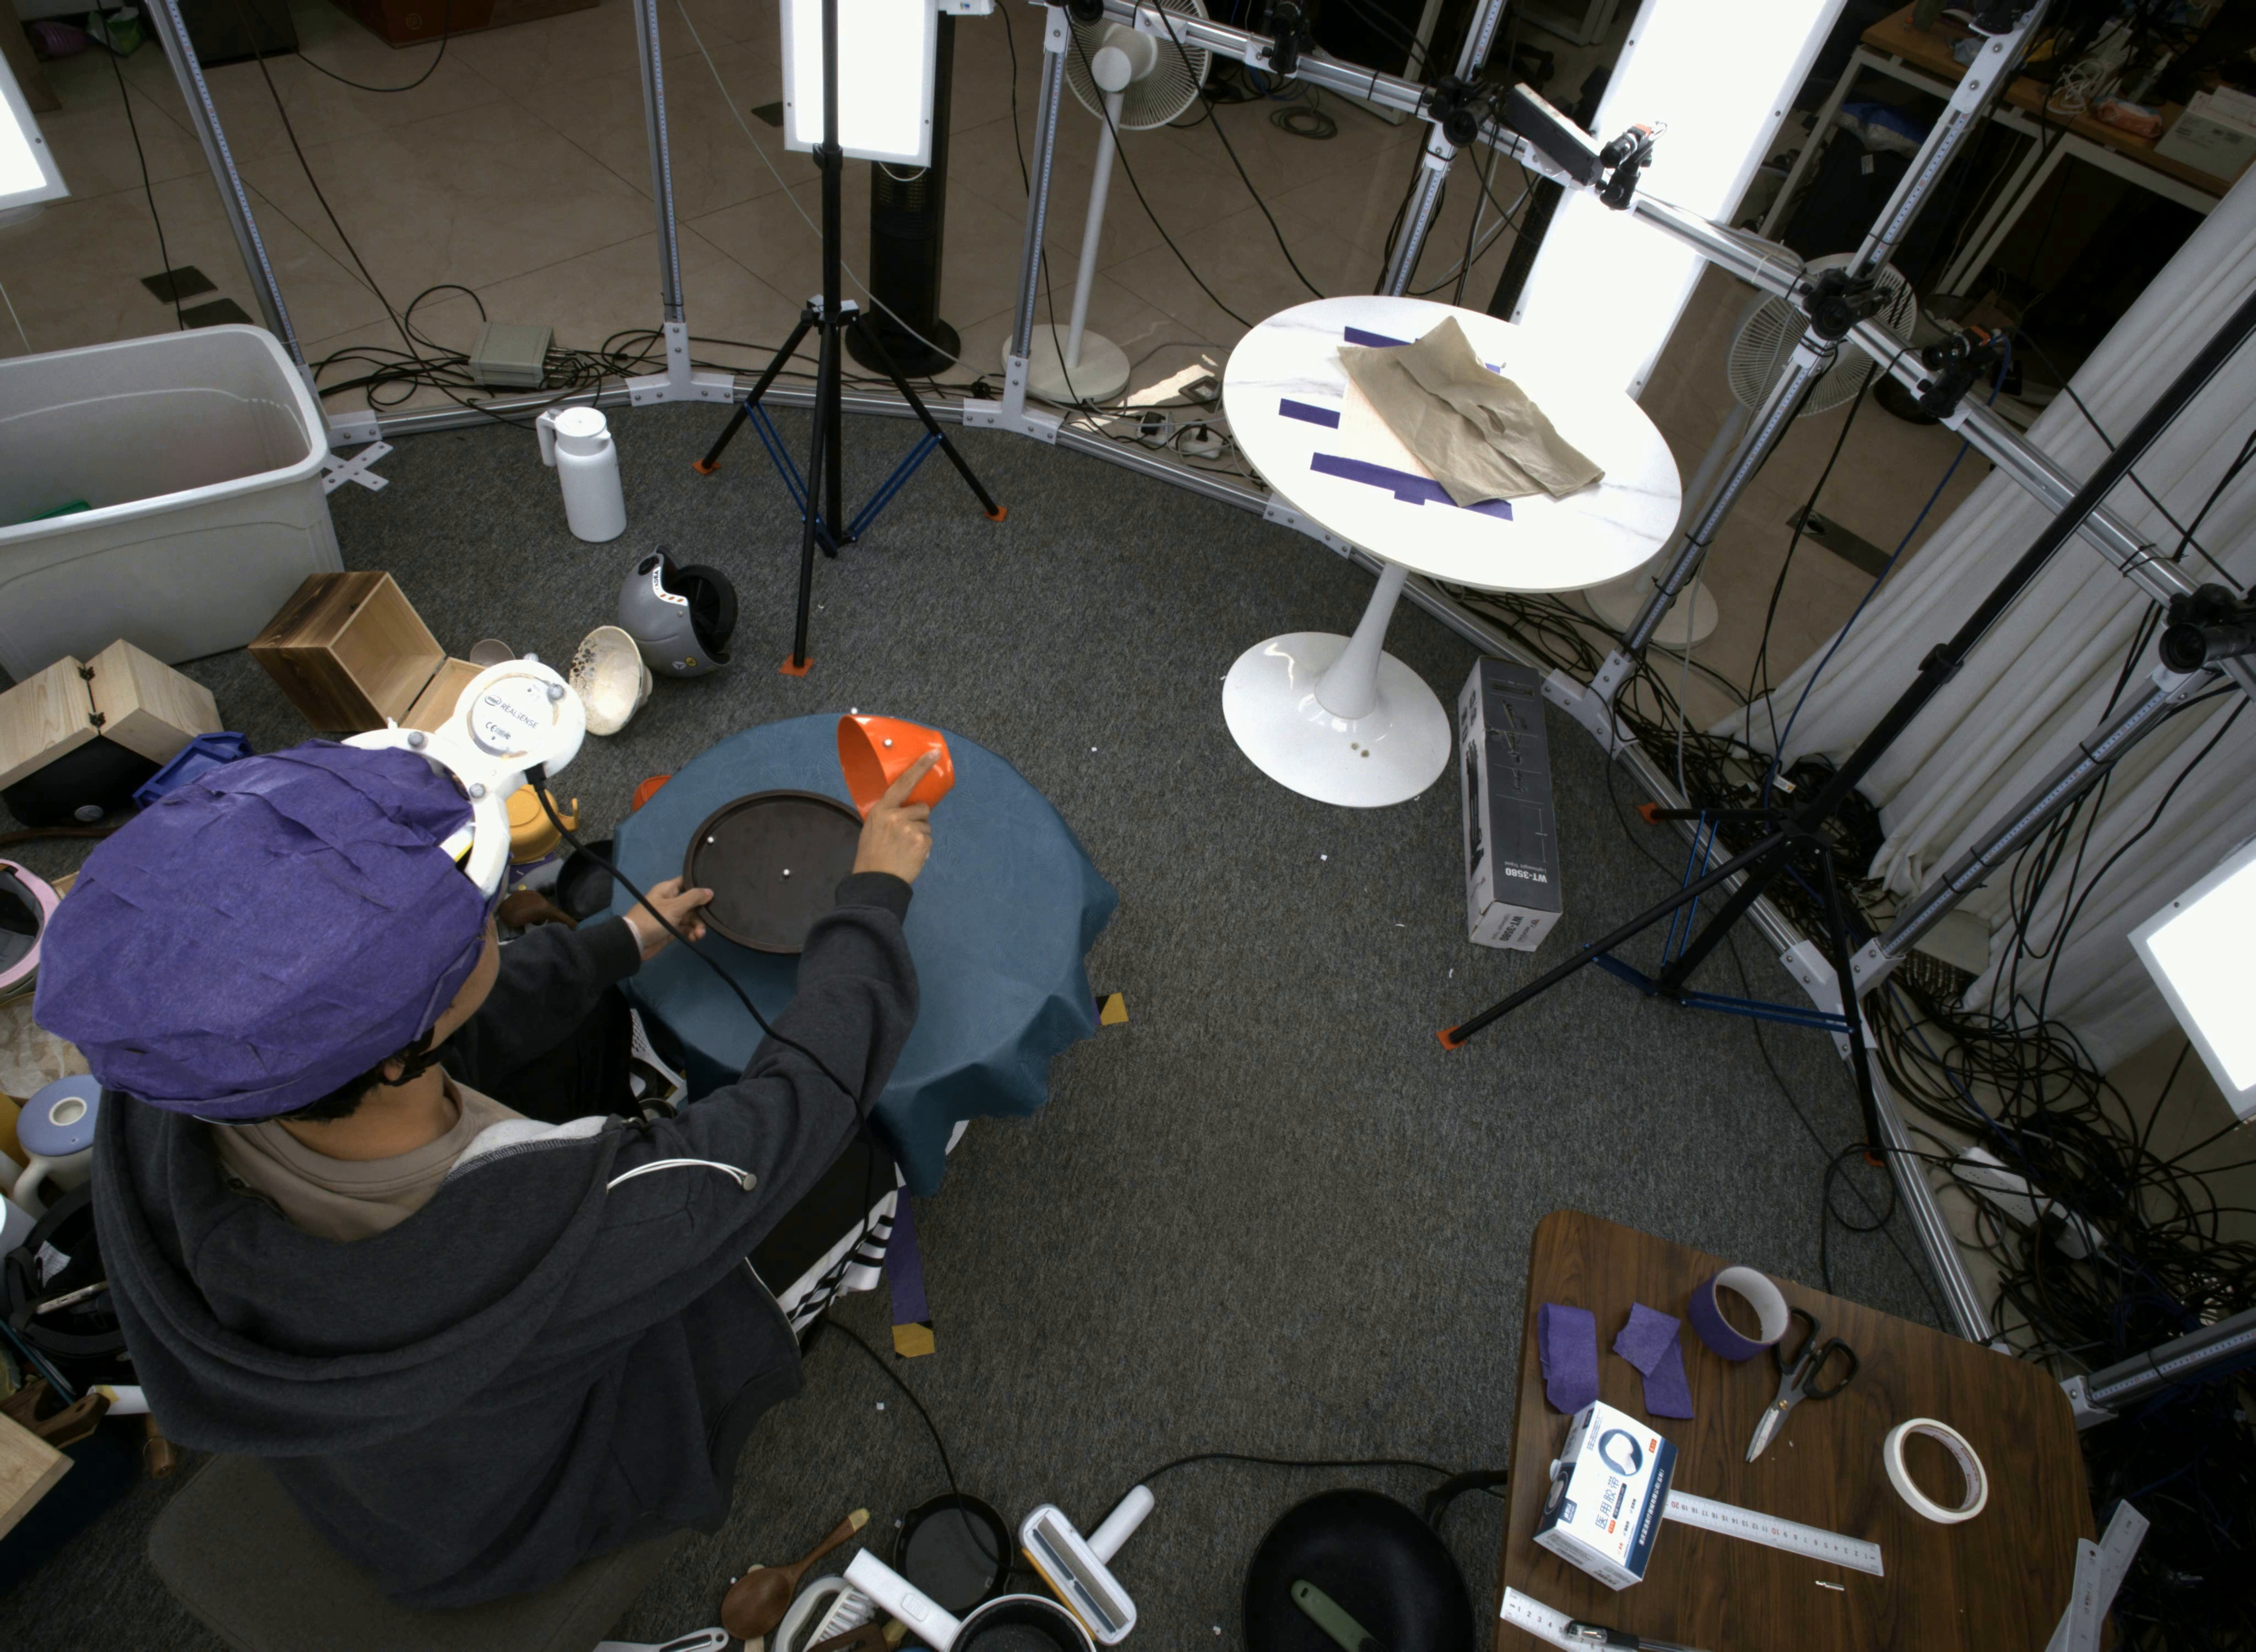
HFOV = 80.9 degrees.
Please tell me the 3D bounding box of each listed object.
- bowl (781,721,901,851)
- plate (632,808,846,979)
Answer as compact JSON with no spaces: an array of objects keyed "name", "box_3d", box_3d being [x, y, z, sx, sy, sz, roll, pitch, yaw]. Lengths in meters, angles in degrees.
[{"name":"bowl","box_3d":[-0.314,-0.055,1.439,0.105,0.151,0.144,-18,58,-21]},{"name":"plate","box_3d":[-0.471,0.078,1.569,0.255,0.029,0.250,11,51,-12]}]
